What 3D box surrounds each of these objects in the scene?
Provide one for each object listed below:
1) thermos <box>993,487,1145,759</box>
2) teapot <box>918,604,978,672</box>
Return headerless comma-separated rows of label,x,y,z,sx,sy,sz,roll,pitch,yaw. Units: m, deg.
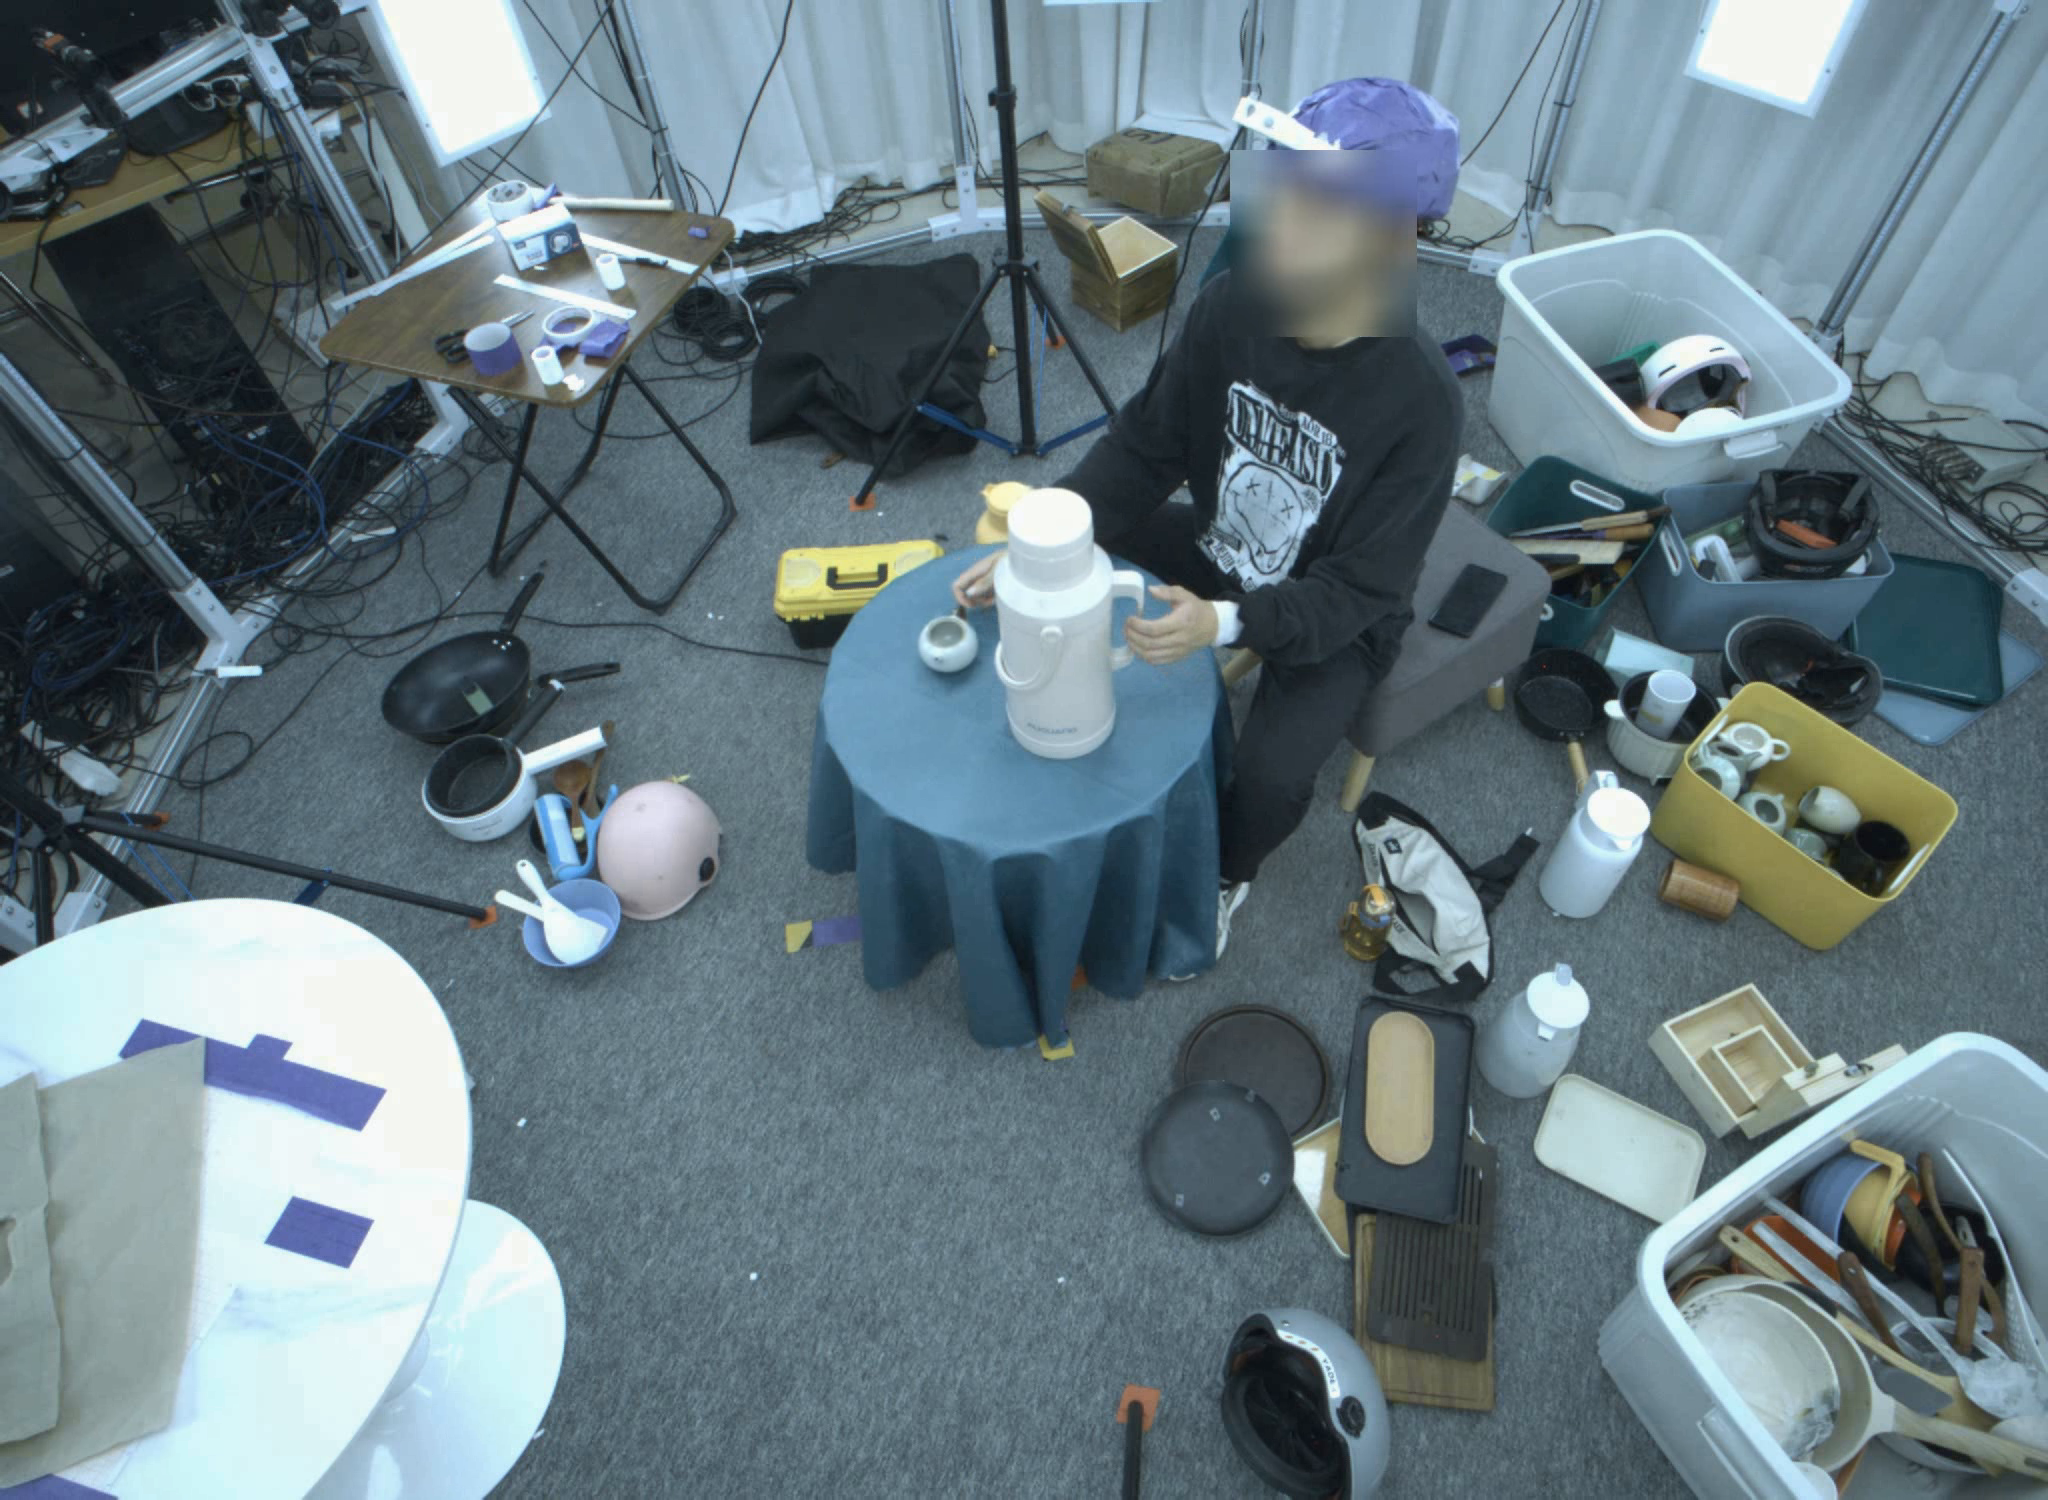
thermos,0.058,-0.166,1.655,0.207,0.411,0.173,-1,53,4
teapot,-0.114,-0.168,1.871,0.091,0.060,0.127,8,57,12
